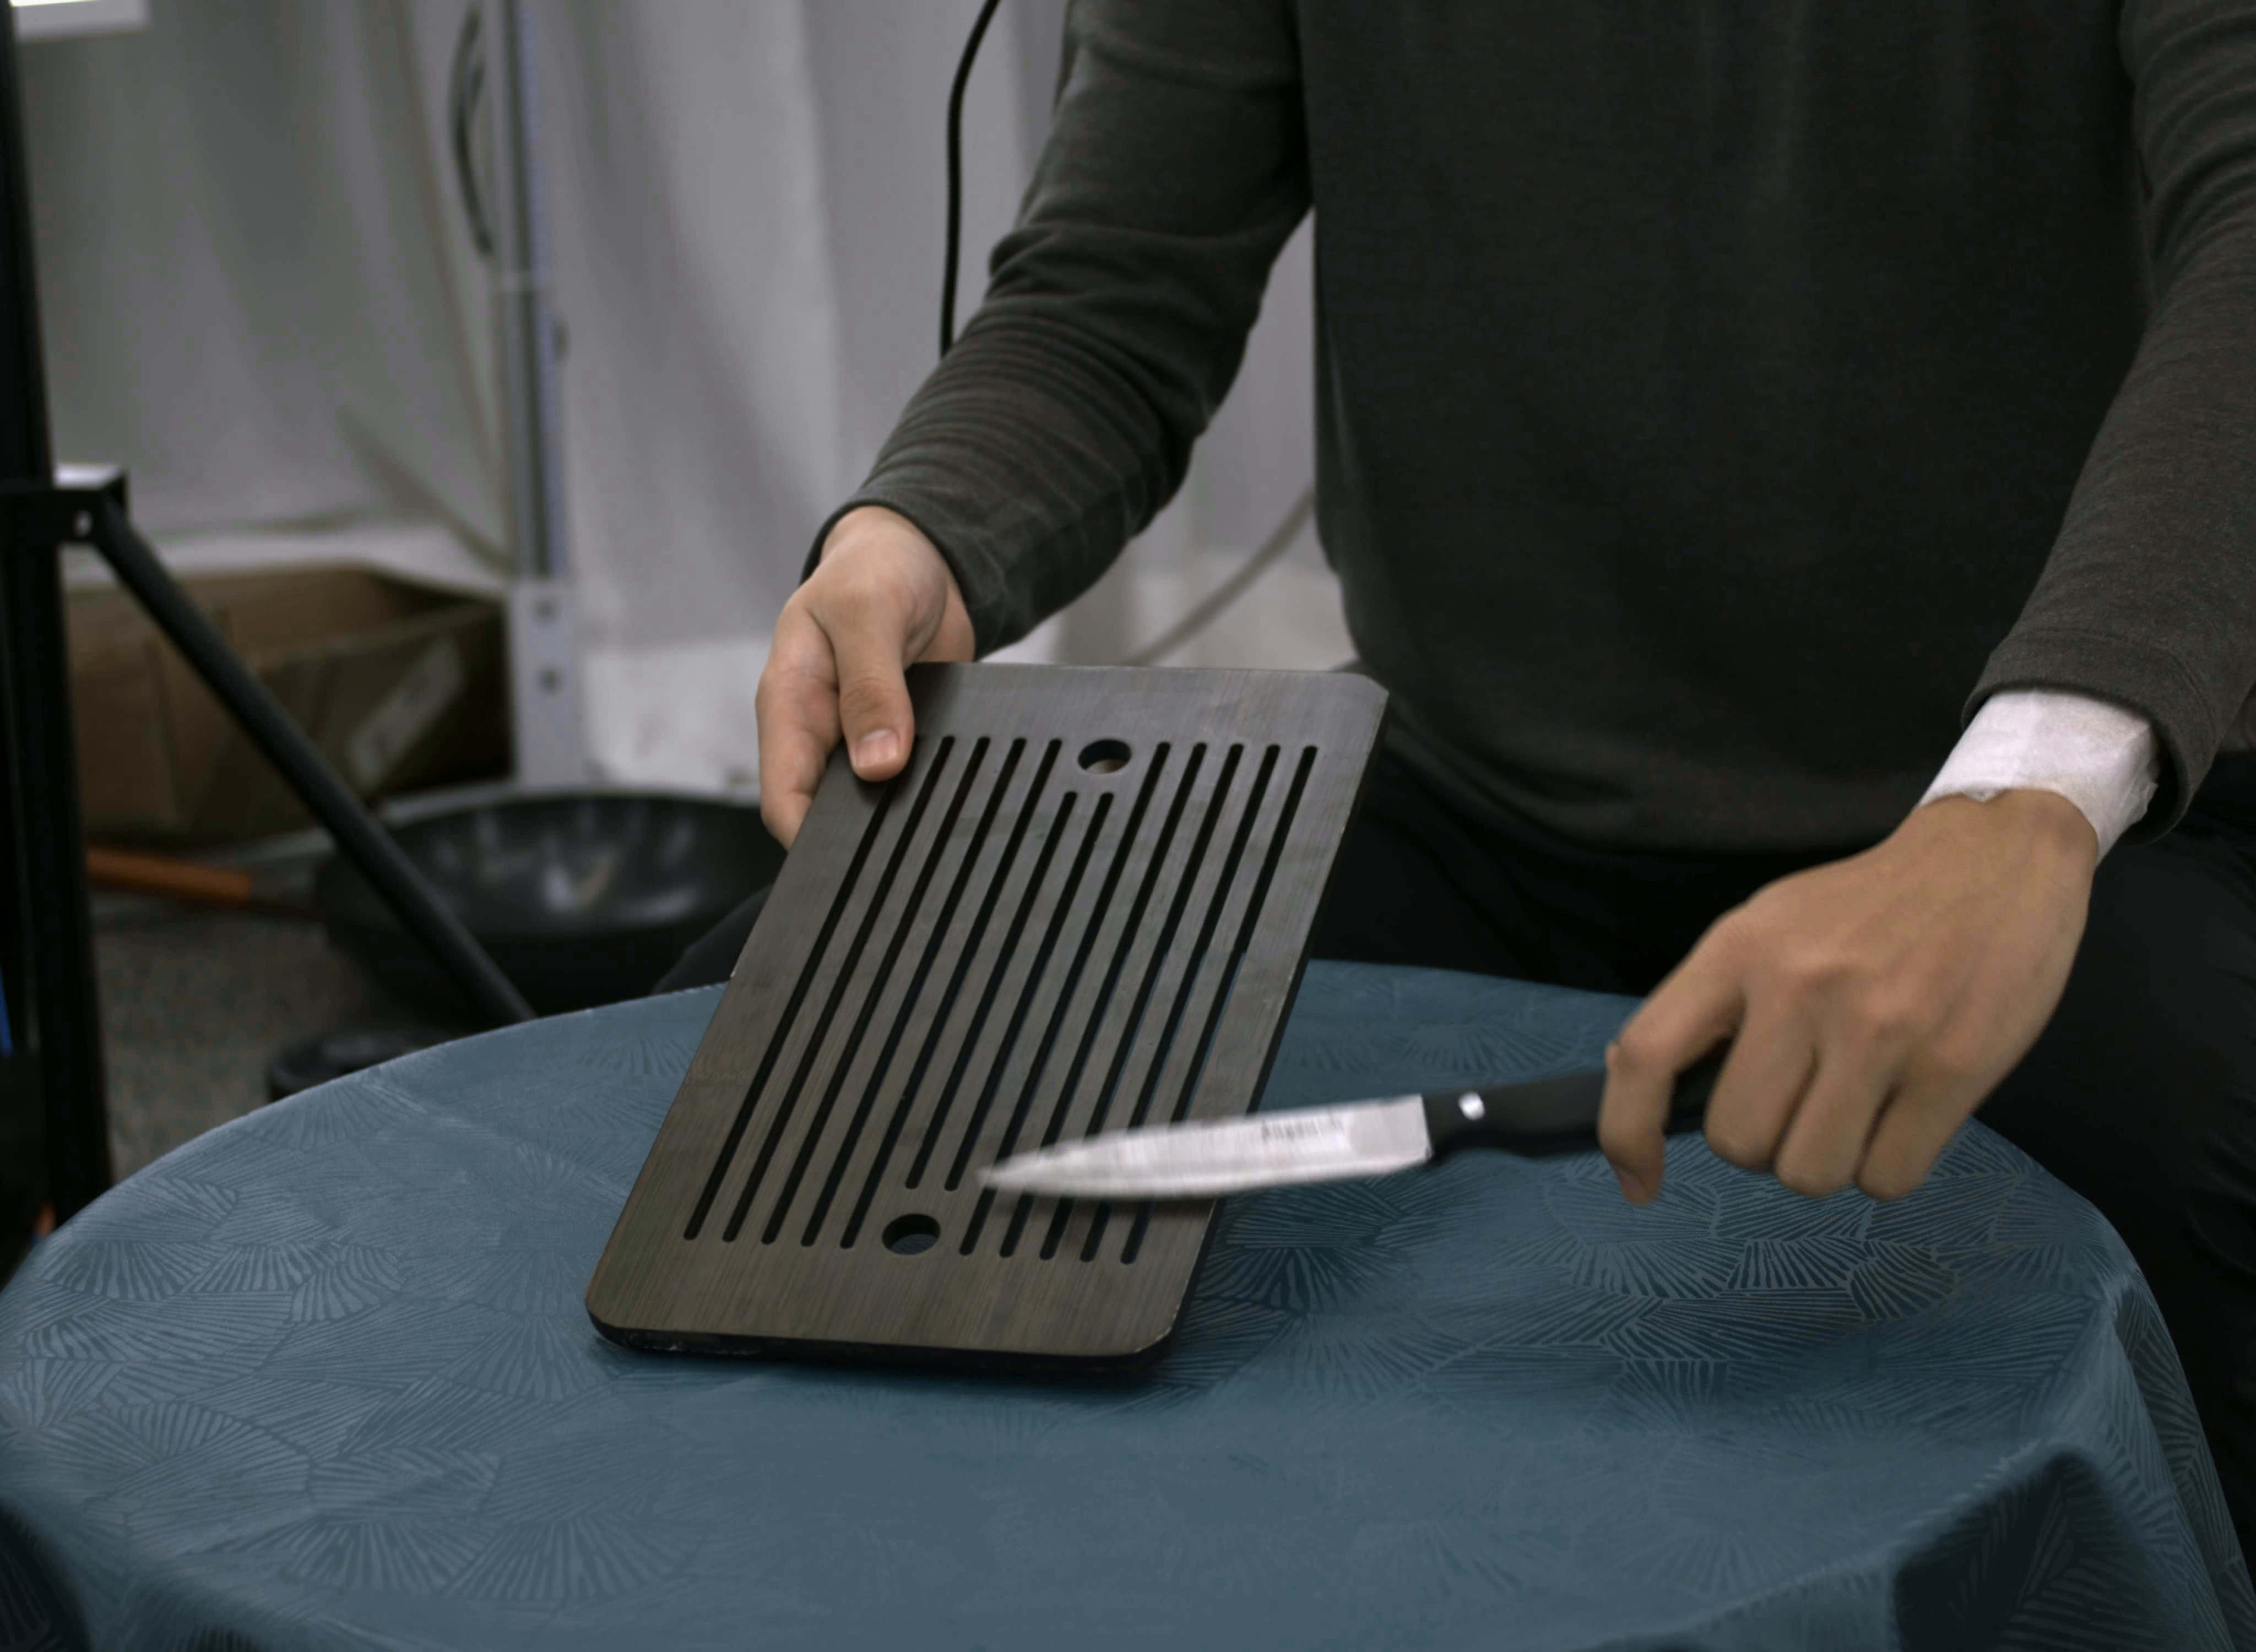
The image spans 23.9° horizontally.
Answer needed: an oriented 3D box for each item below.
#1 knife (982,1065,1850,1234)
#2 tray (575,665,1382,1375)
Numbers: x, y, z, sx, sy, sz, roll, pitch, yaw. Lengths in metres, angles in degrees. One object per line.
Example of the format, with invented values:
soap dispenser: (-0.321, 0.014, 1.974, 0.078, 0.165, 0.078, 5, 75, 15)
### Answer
knife: (0.076, 0.089, 1.433, 0.239, 0.016, 0.025, -9, 54, 10)
tray: (-0.036, 0.051, 1.545, 0.172, 0.018, 0.306, 1, 38, 18)
